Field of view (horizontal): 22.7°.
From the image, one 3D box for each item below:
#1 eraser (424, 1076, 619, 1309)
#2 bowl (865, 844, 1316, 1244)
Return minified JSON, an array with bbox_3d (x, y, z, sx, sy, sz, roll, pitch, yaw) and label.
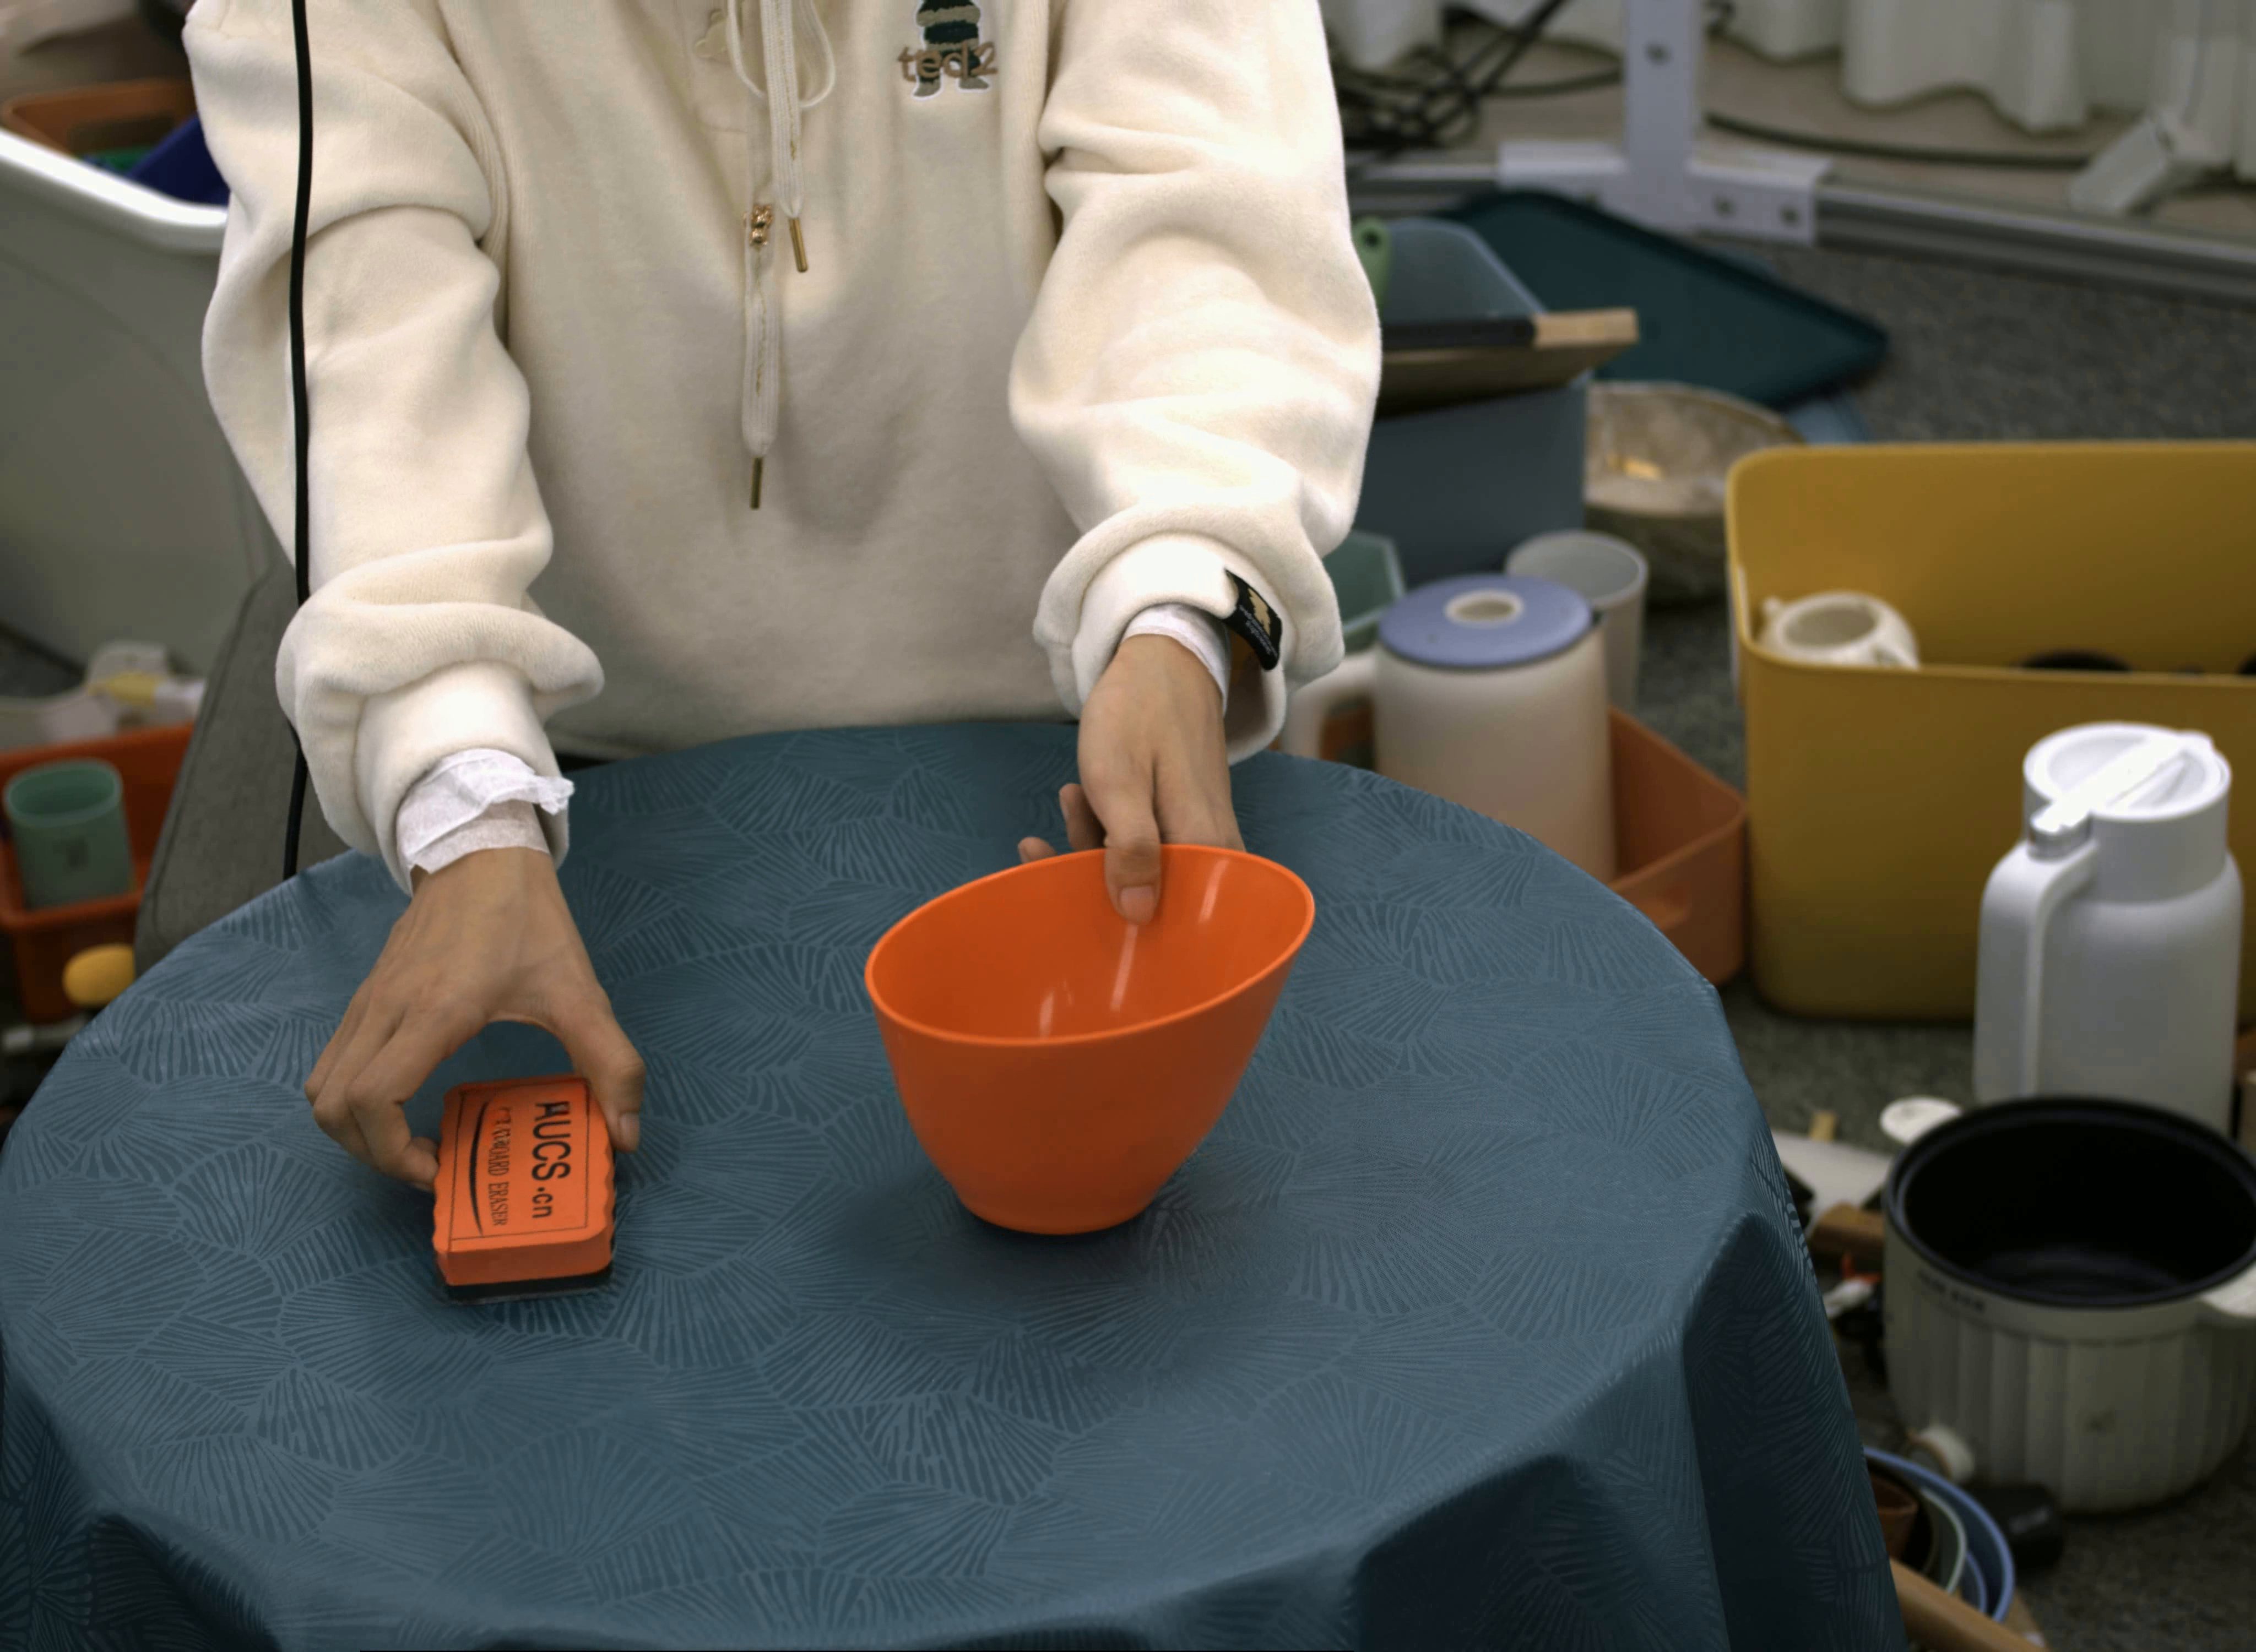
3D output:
[{"bbox_3d":[-0.200,0.121,1.857,0.059,0.022,0.109,-5,27,0],"label":"eraser"},{"bbox_3d":[-0.012,0.076,1.839,0.147,0.103,0.150,-1,25,1],"label":"bowl"}]
